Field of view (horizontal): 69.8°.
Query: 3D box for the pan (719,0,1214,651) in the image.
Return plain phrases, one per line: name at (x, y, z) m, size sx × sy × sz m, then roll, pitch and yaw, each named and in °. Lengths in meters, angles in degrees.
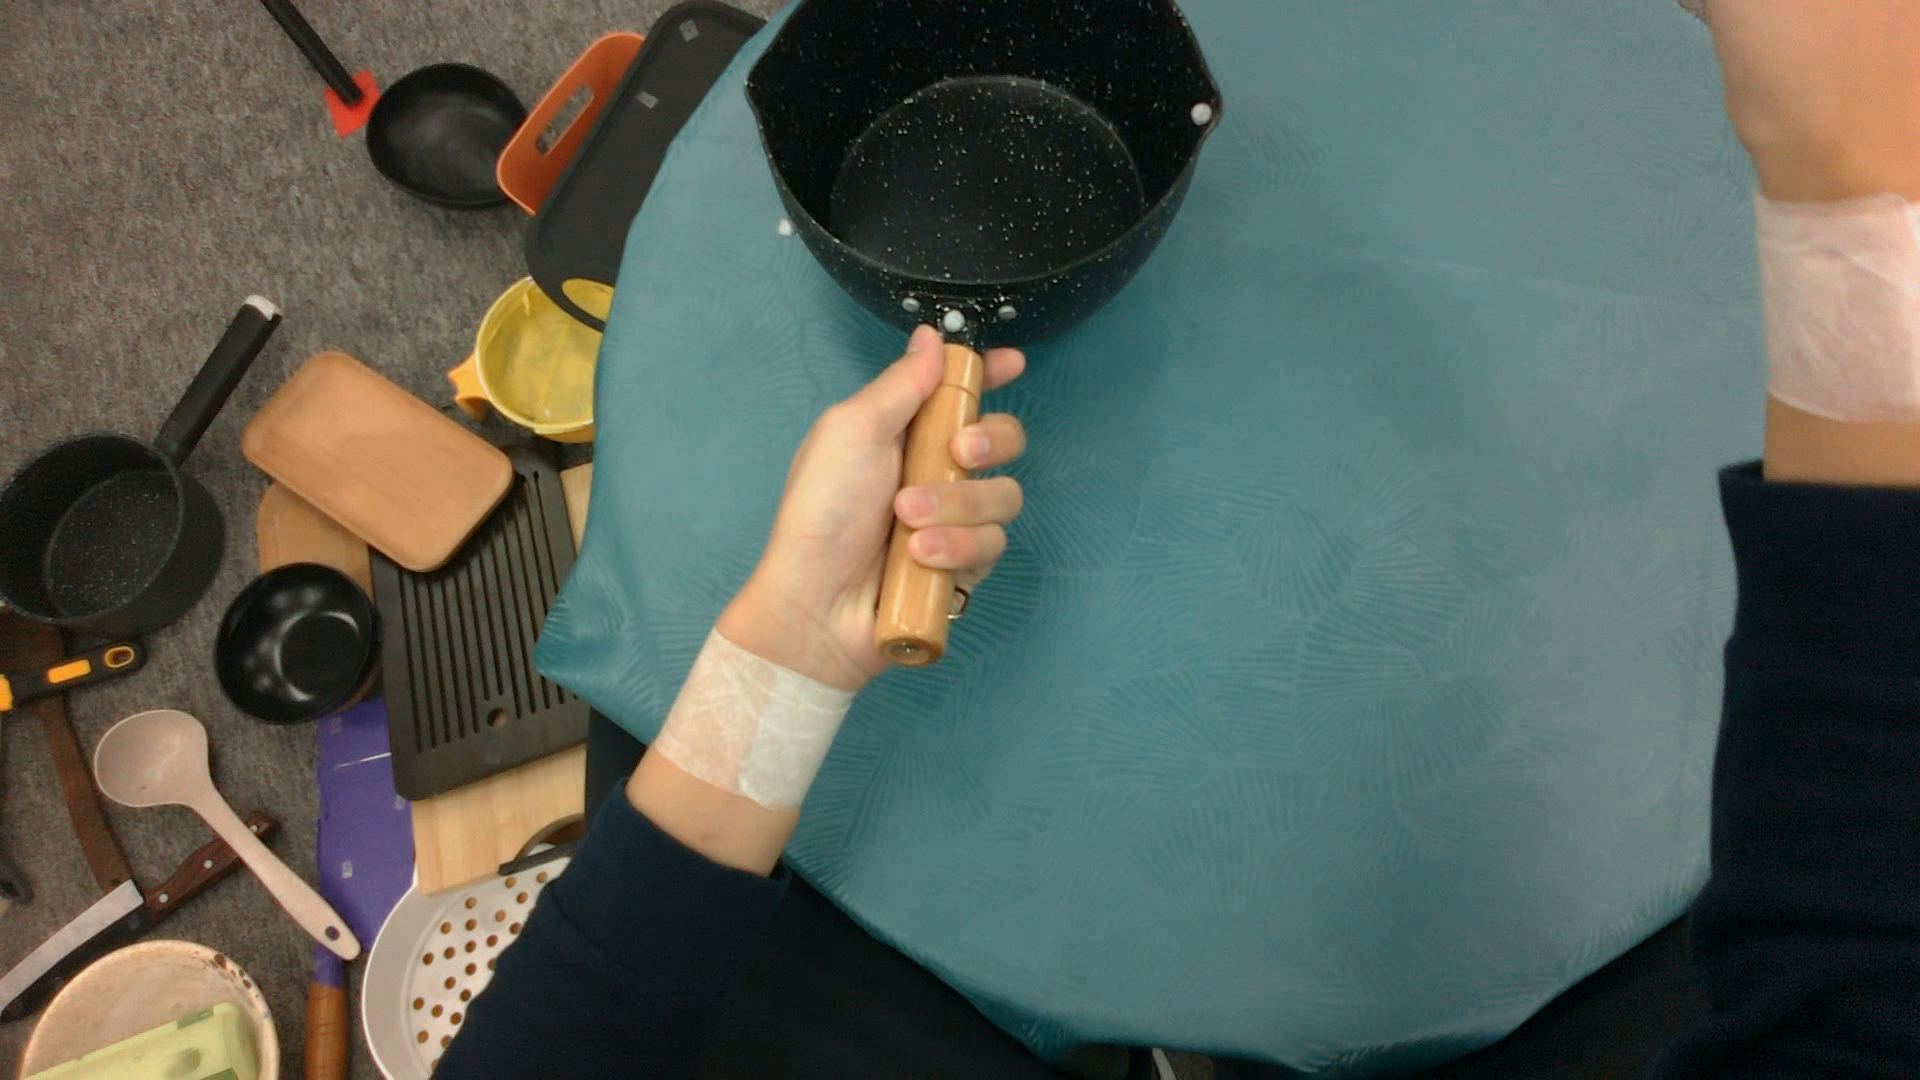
pan at (-0.003, -0.106, 0.571) m, size 0.207 × 0.108 × 0.344 m, roll 3°, pitch 68°, yaw 2°
